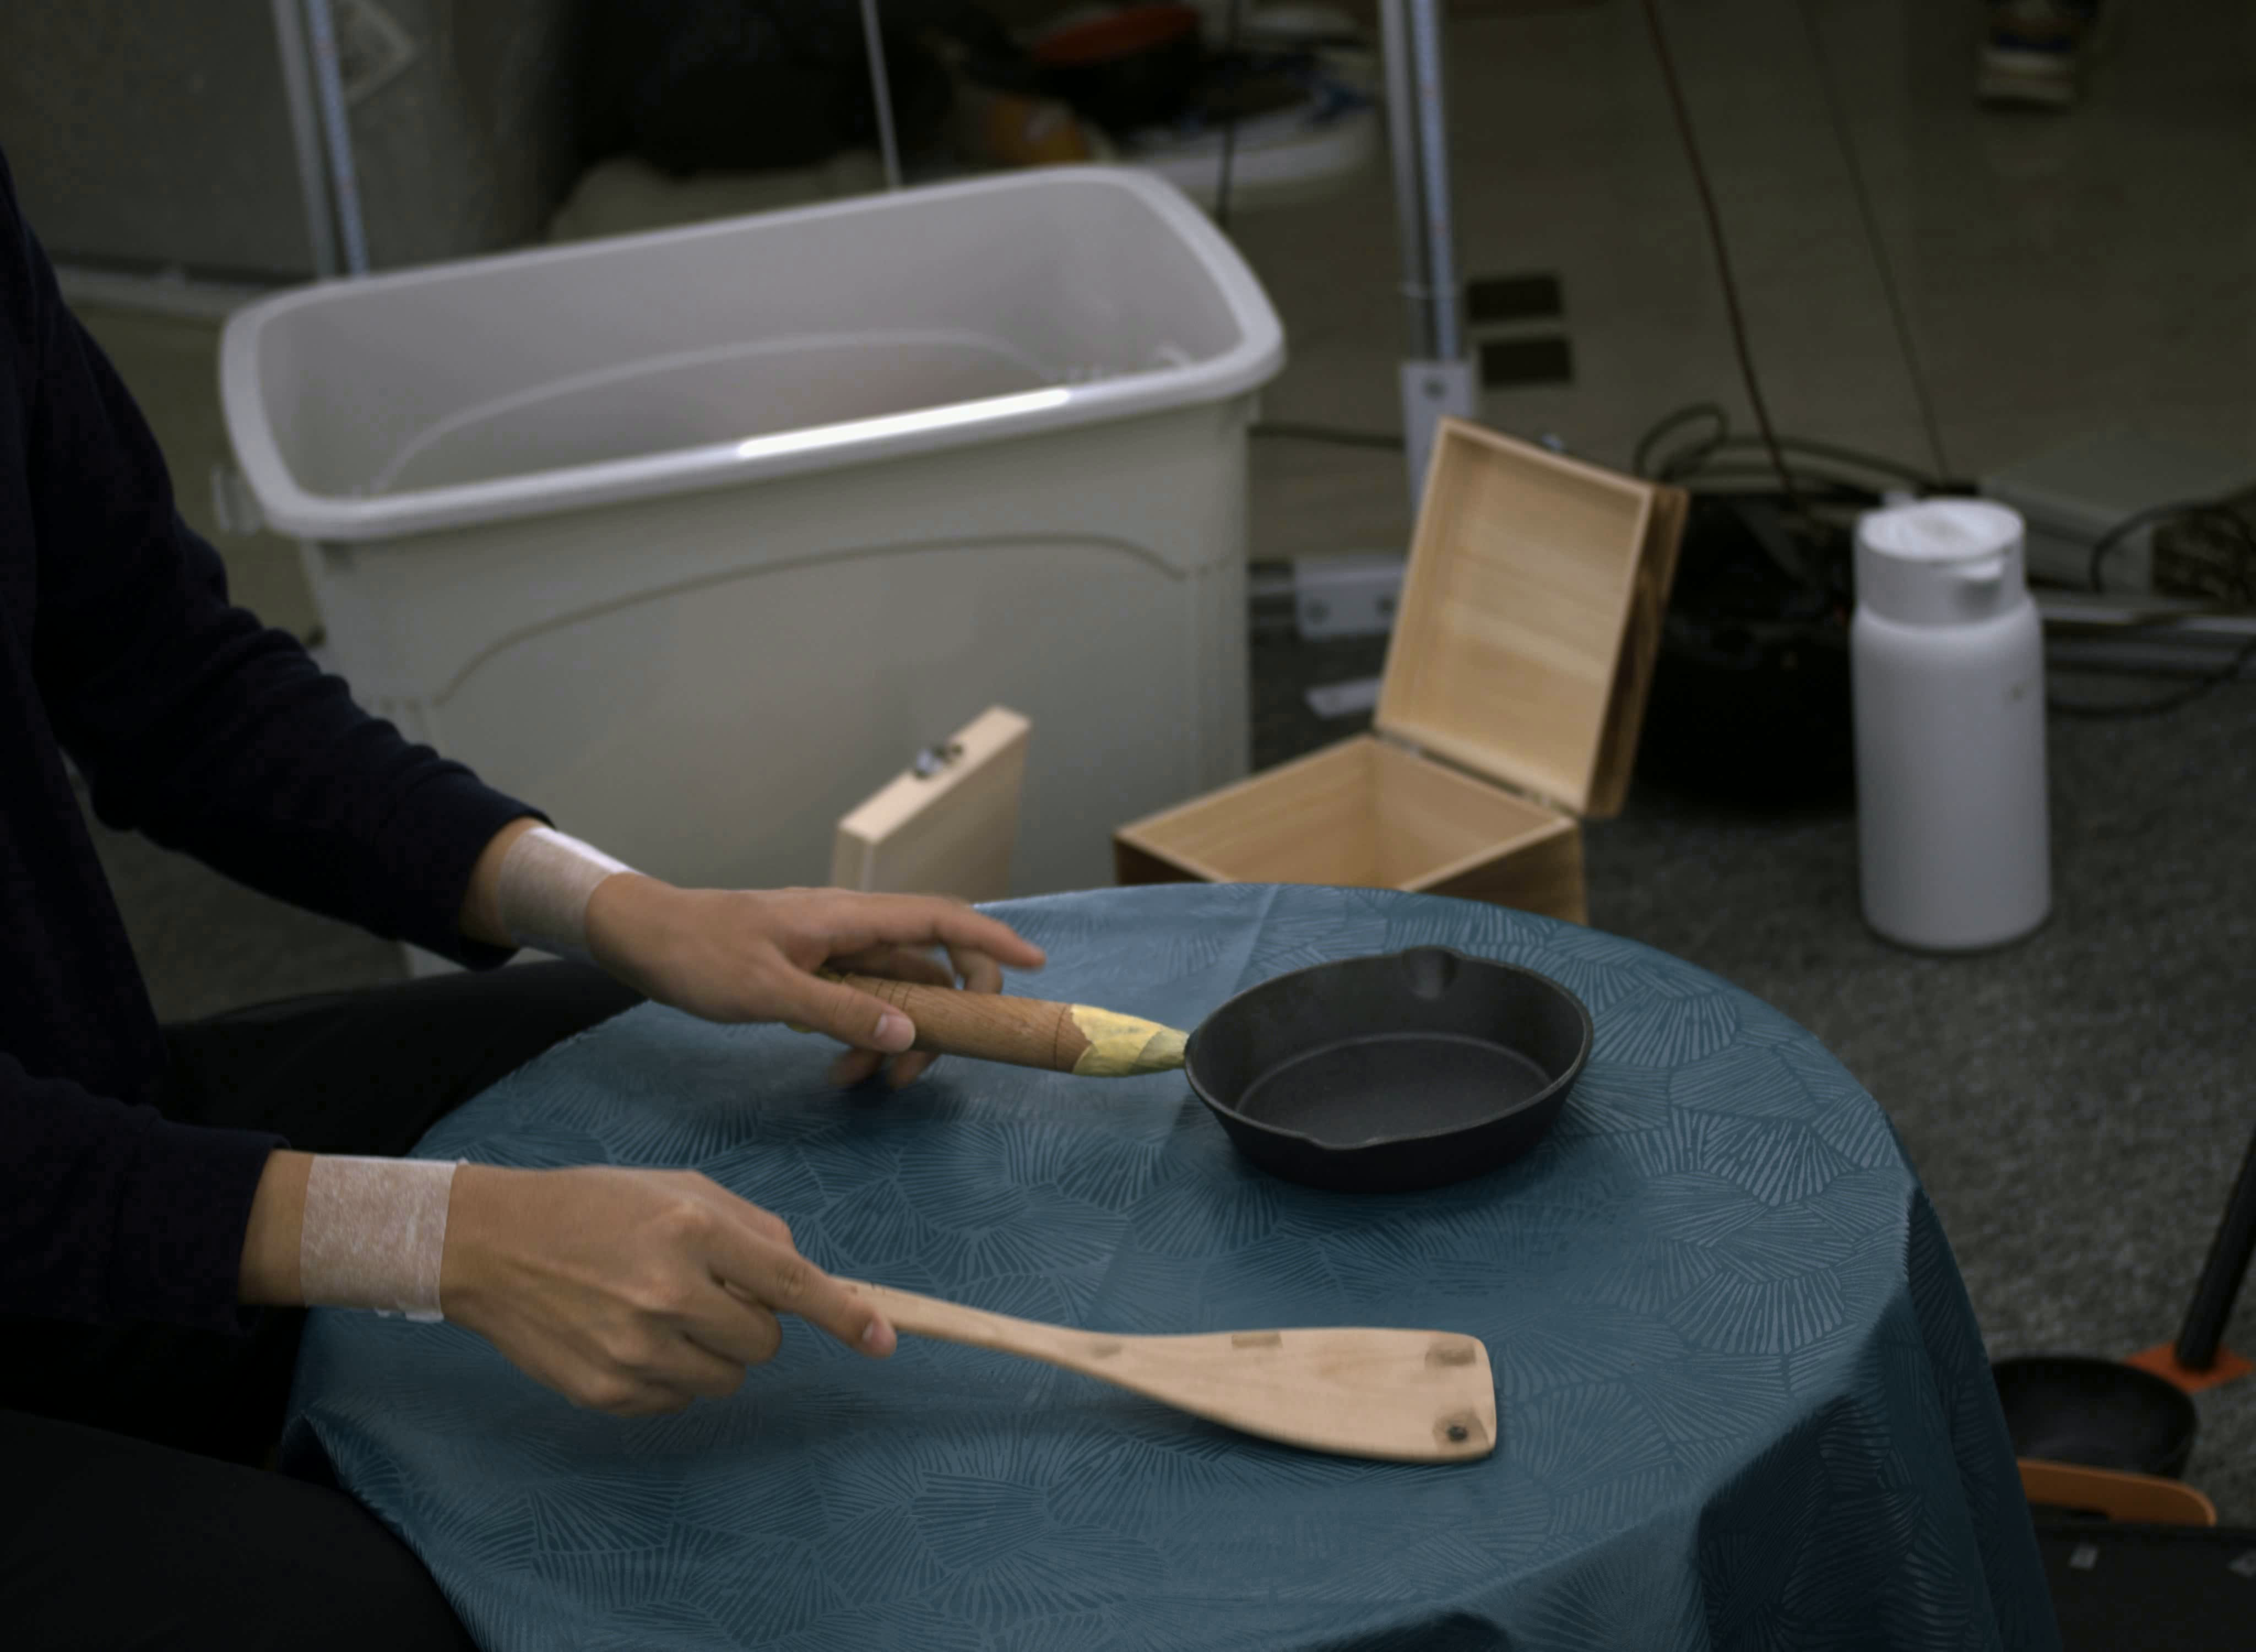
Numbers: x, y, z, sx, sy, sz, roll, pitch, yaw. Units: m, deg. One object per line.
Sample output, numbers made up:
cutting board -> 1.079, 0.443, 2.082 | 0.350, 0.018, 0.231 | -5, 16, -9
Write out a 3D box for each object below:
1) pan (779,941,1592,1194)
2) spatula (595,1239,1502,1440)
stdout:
pan -> 0.020, 0.086, 2.194 | 0.323, 0.050, 0.166 | 3, 27, 17
spatula -> -0.028, 0.174, 2.000 | 0.327, 0.017, 0.079 | 9, 25, 6
